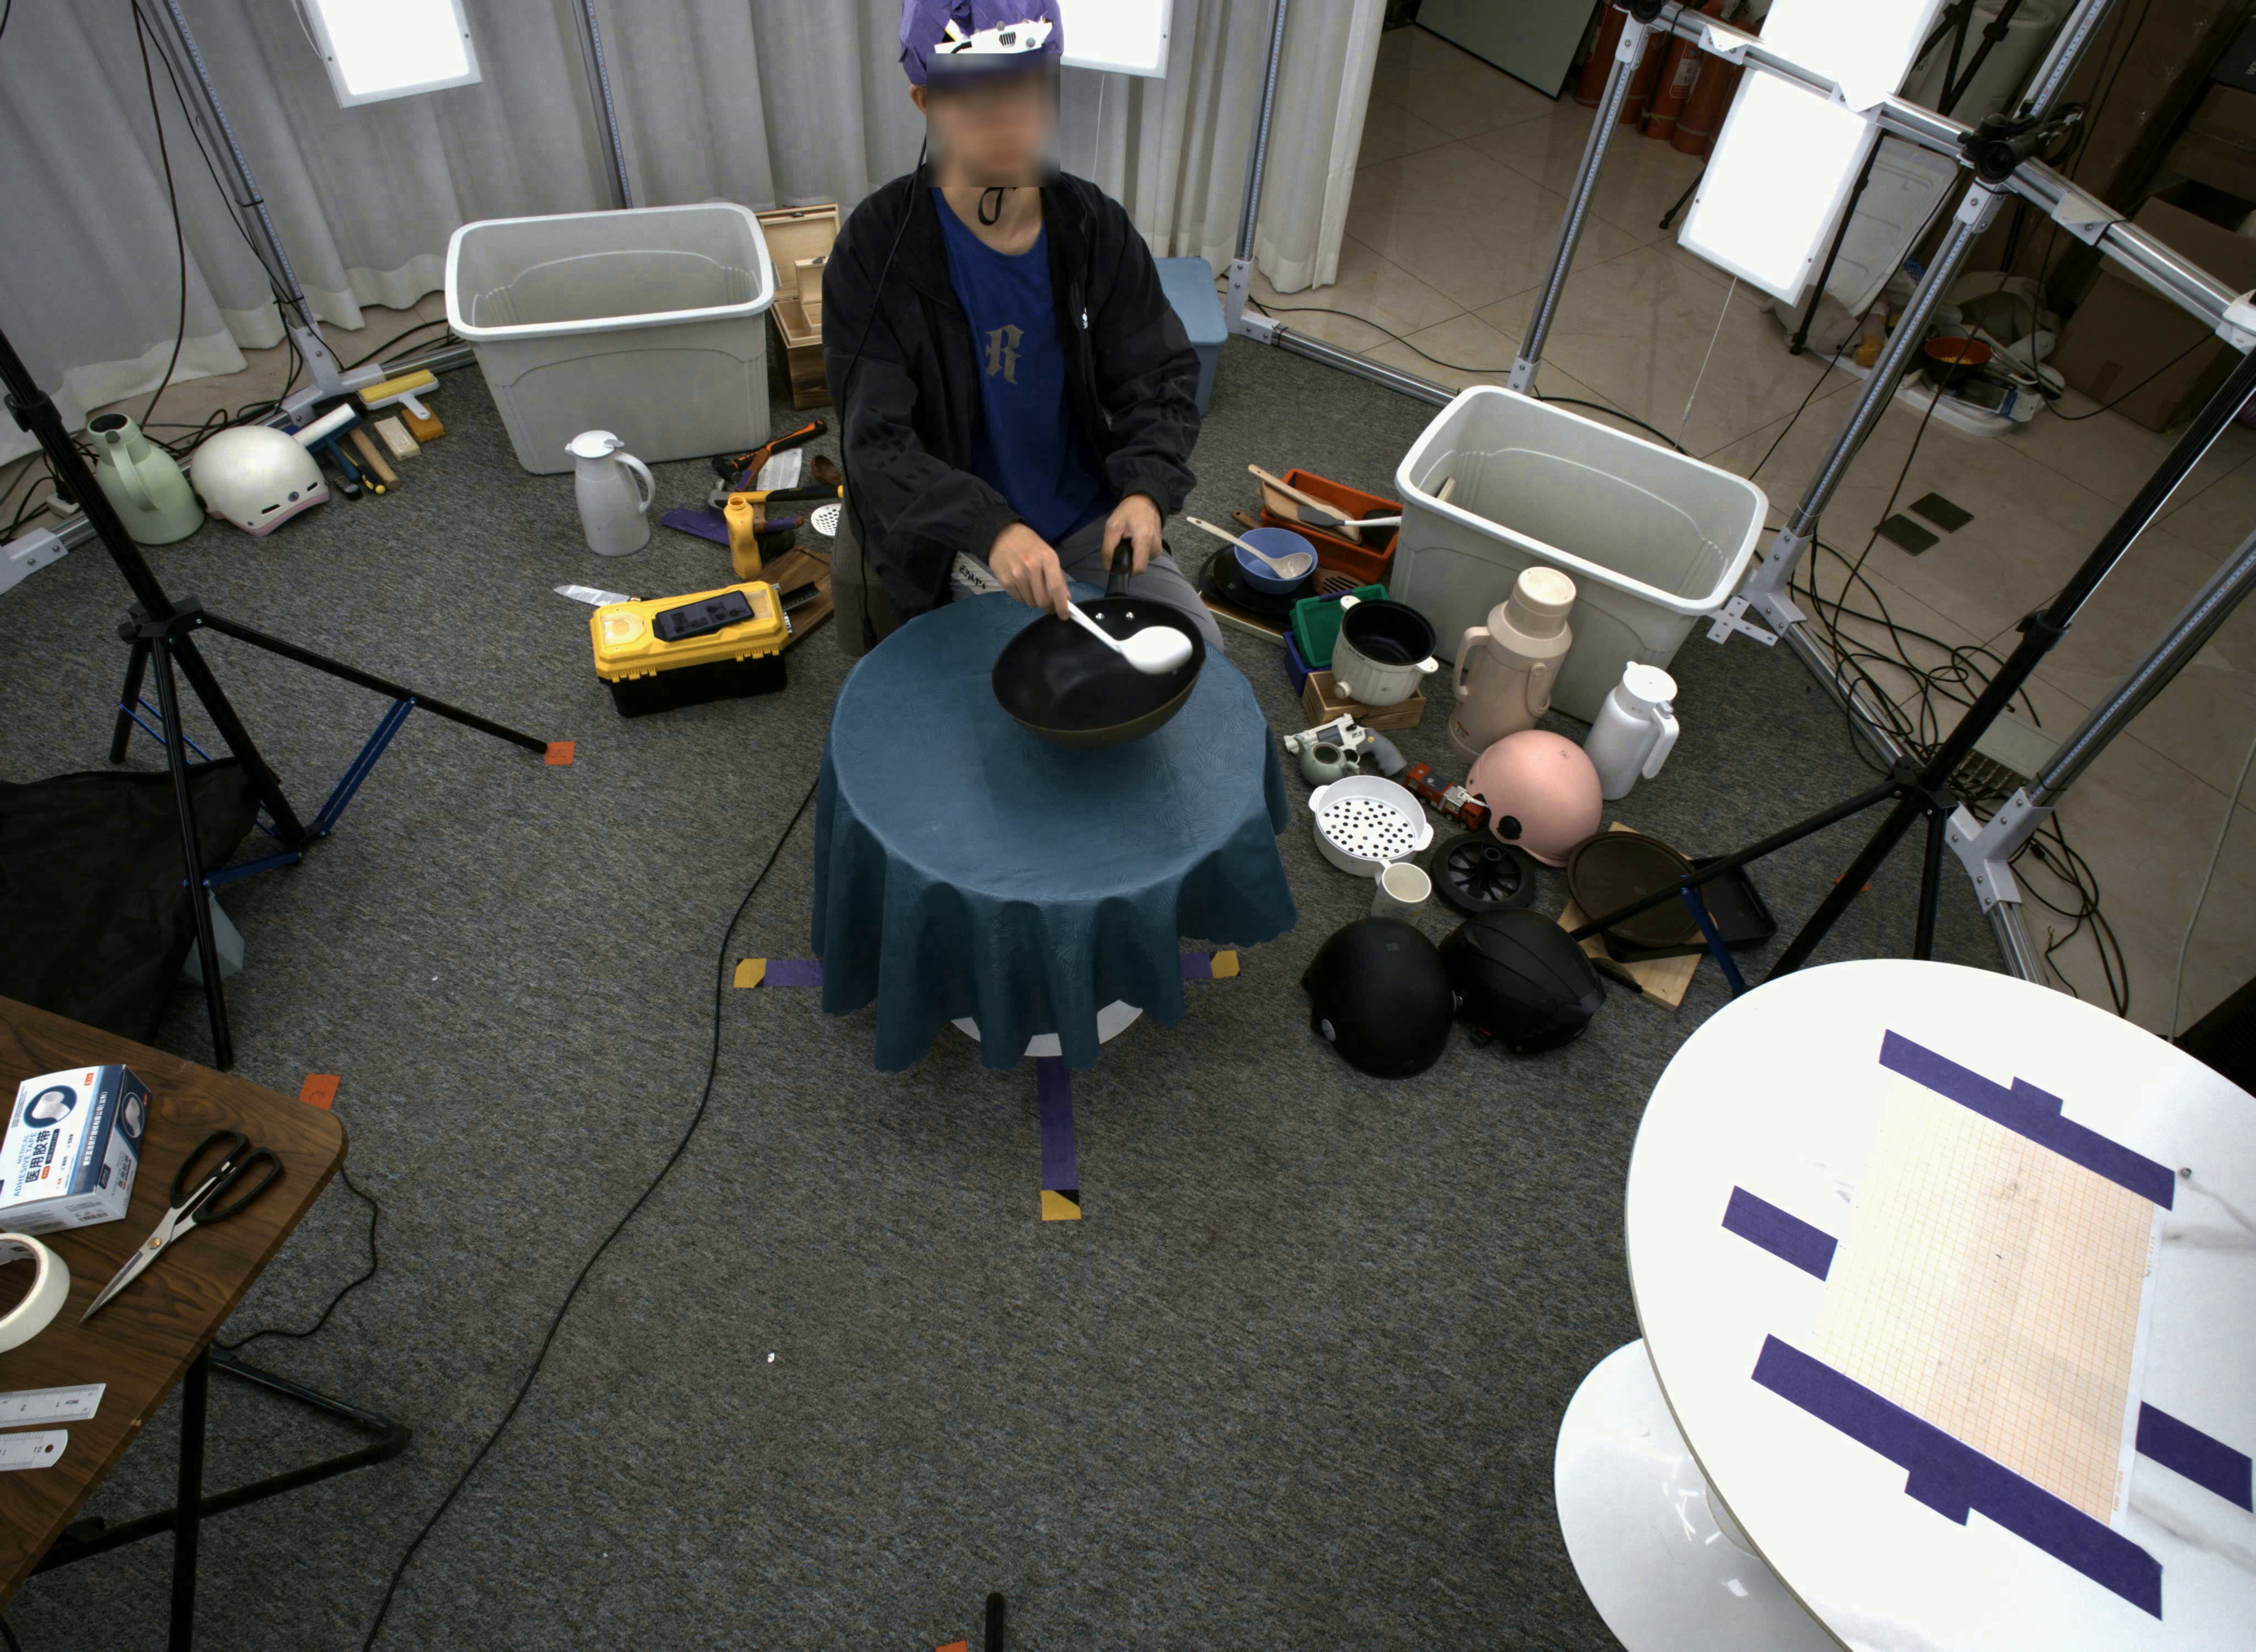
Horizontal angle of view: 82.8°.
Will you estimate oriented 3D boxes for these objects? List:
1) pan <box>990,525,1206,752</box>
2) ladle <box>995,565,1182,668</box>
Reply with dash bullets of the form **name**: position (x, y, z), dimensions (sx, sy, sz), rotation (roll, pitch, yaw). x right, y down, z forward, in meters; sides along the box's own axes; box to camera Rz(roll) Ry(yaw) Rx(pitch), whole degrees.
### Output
- **pan**: position (-0.020, -0.253, 1.762), dimensions (0.288, 0.085, 0.474), rotation (-1, 45, 13)
- **ladle**: position (-0.058, -0.288, 1.703), dimensions (0.298, 0.088, 0.070), rotation (35, 83, 32)
